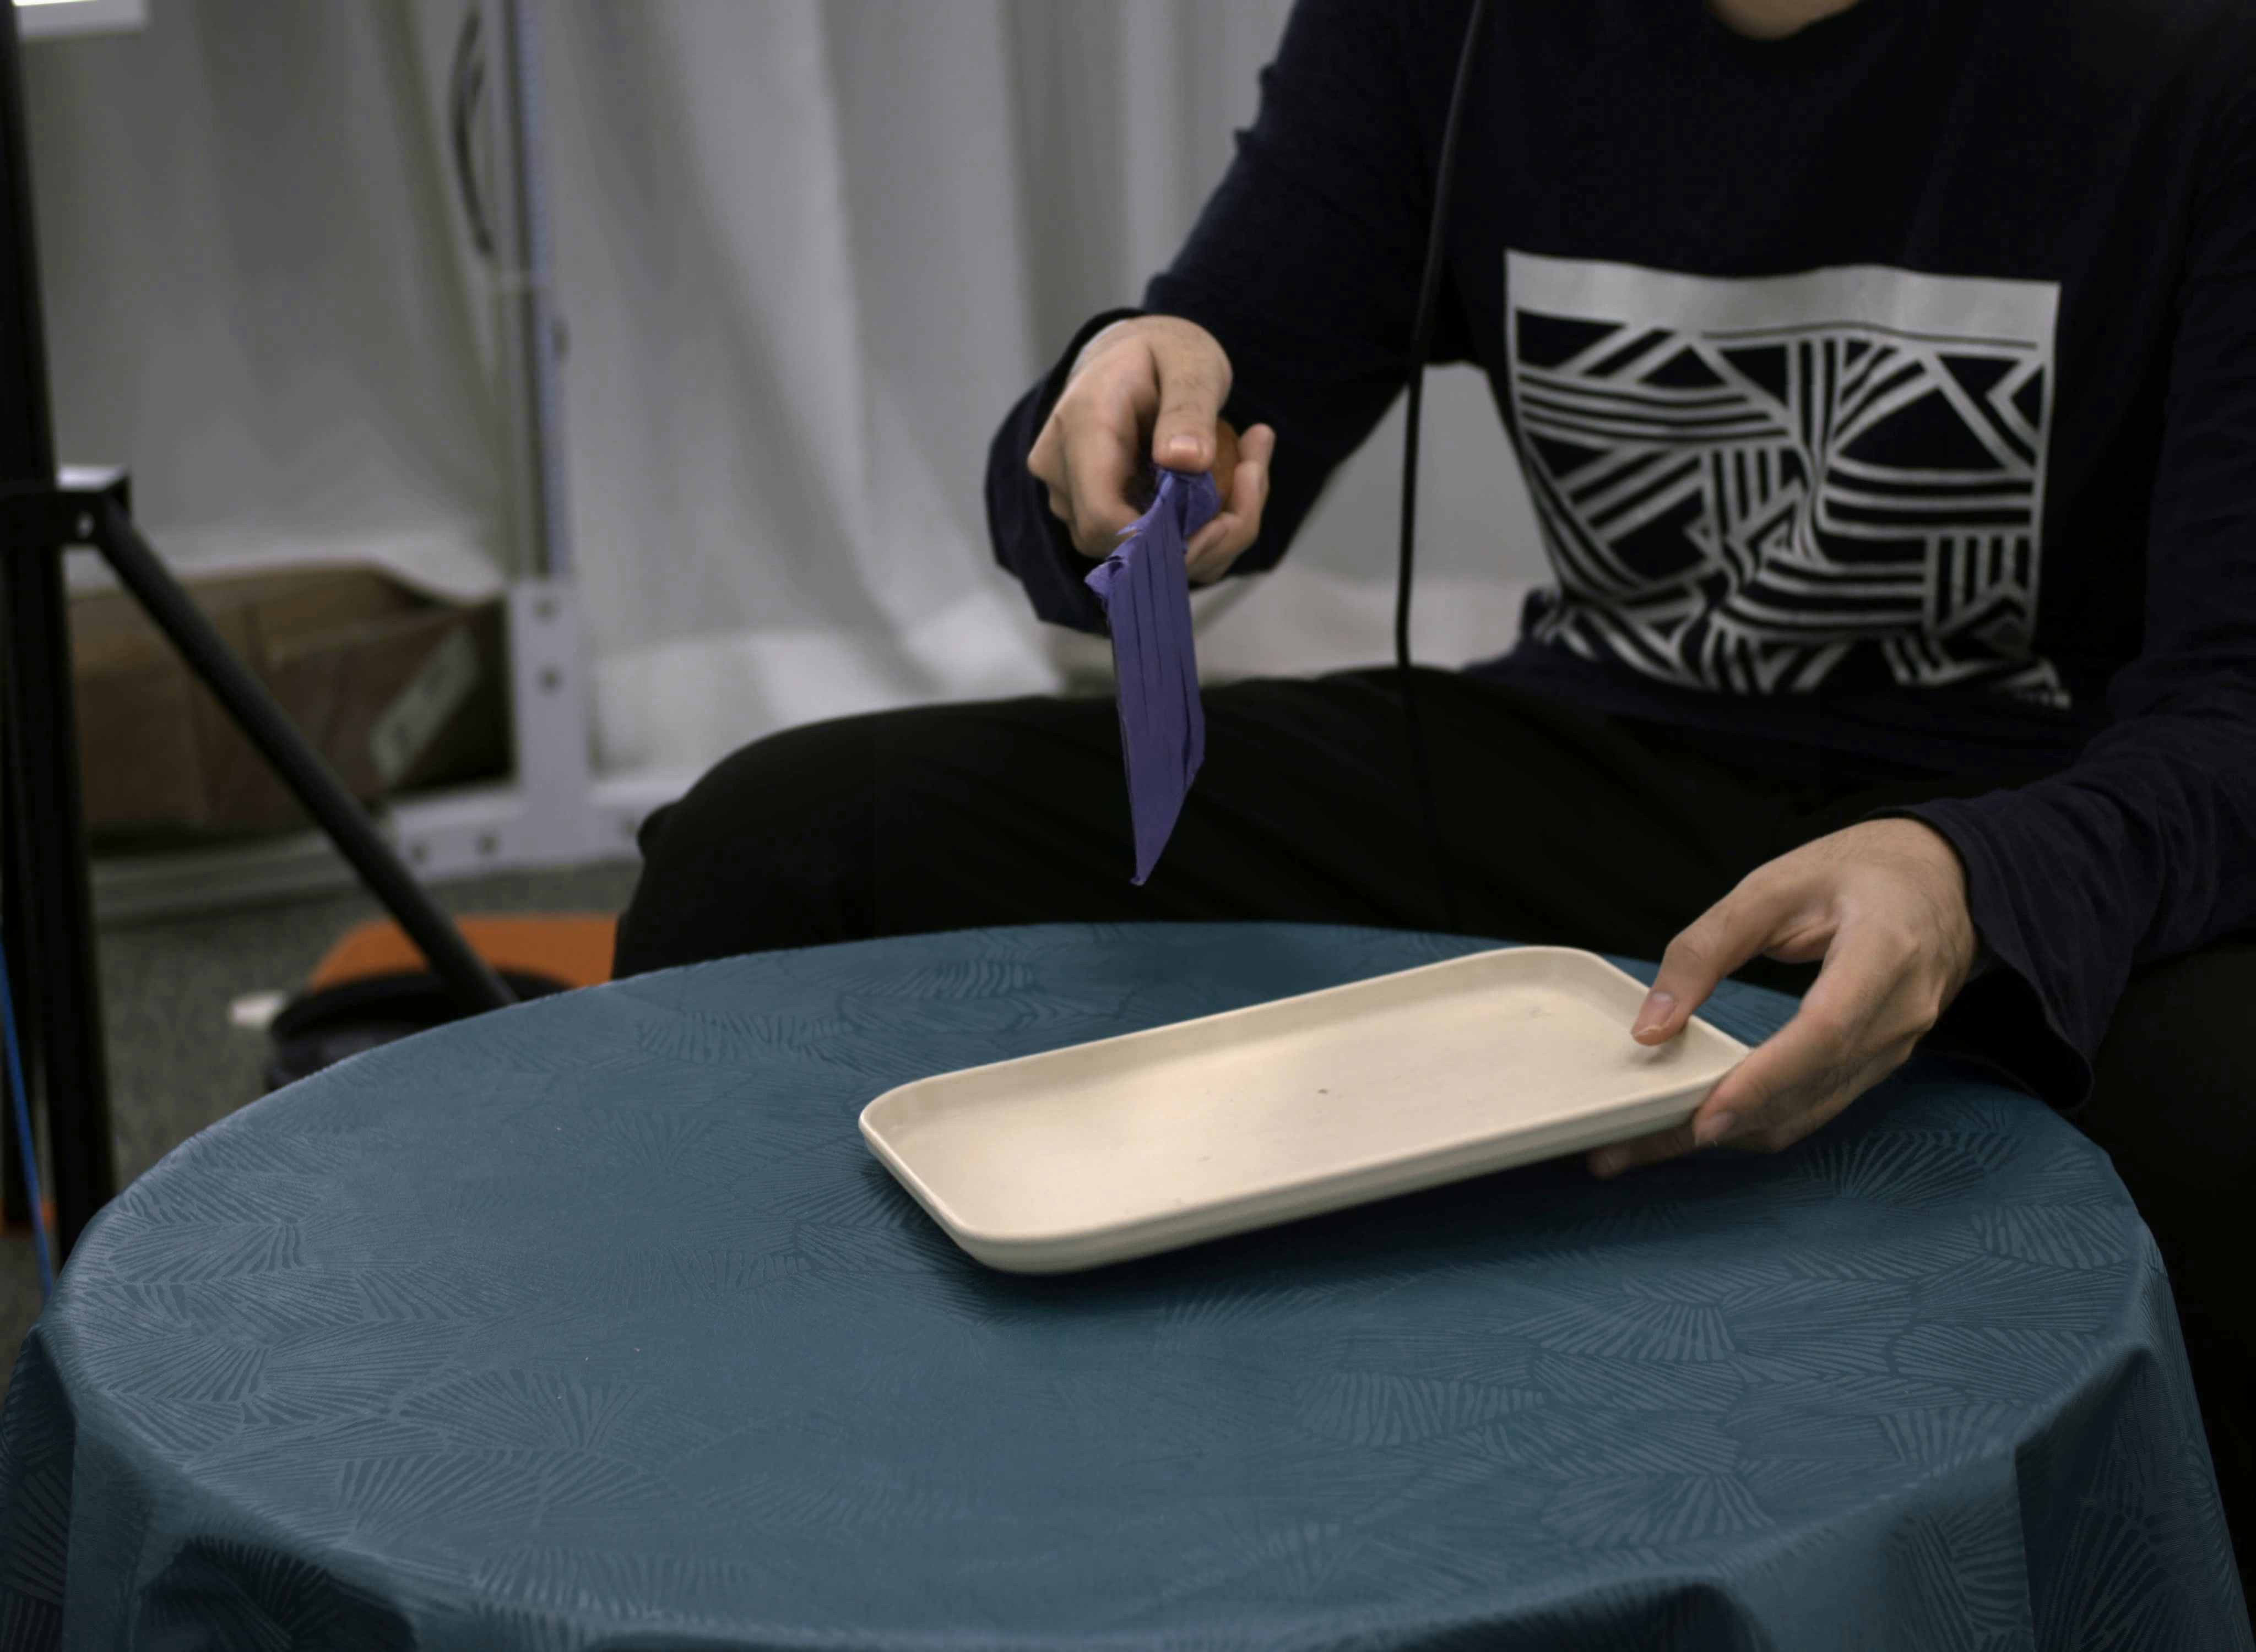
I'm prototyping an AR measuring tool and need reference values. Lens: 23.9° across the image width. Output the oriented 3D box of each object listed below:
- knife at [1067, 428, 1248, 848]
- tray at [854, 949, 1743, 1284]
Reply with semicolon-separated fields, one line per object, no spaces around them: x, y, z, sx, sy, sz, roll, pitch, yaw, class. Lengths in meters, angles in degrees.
0.009;-0.060;1.649;0.032;0.104;0.314;-4;11;9;knife
0.049;0.085;1.562;0.236;0.017;0.174;-13;16;-14;tray
